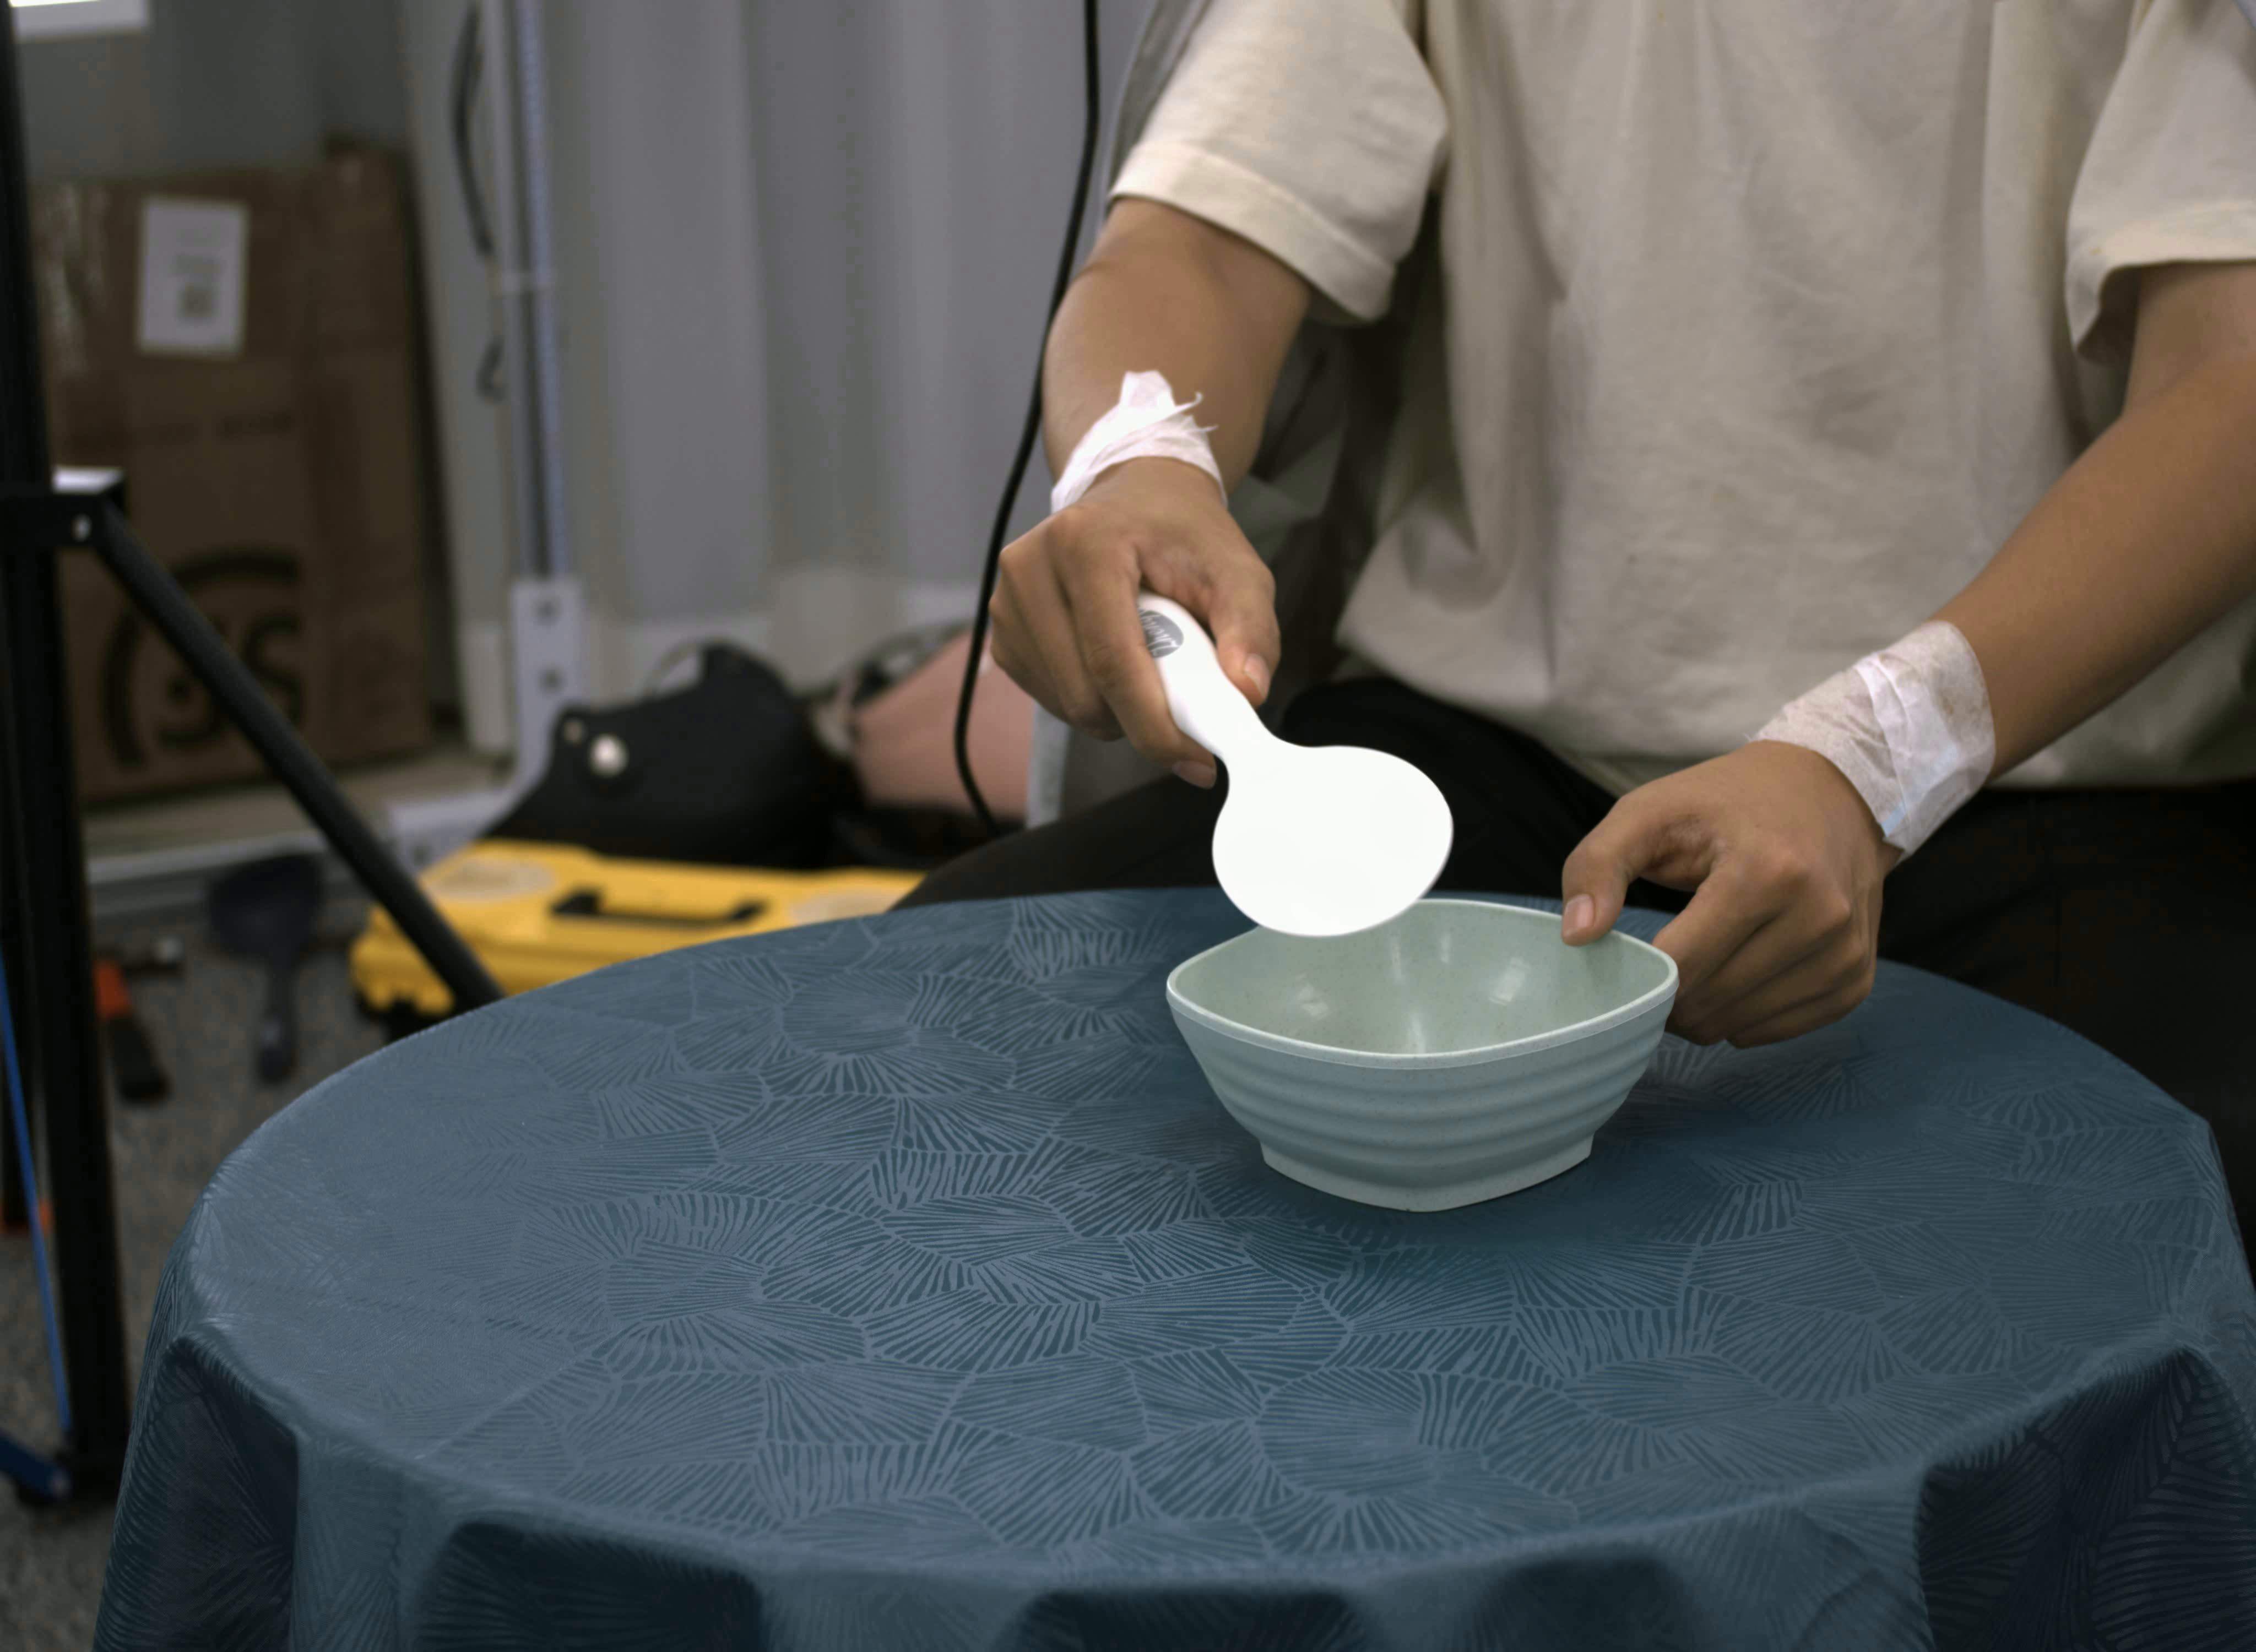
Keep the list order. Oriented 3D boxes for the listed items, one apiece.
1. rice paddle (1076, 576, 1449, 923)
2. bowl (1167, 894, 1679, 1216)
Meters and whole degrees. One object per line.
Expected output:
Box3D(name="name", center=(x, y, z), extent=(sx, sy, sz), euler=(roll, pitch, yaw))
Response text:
Box3D(name="rice paddle", center=(0.037, -0.024, 1.591), extent=(0.068, 0.029, 0.209), euler=(-36, 33, -5))
Box3D(name="bowl", center=(0.089, 0.071, 1.566), extent=(0.151, 0.058, 0.152), euler=(-6, 17, 0))
